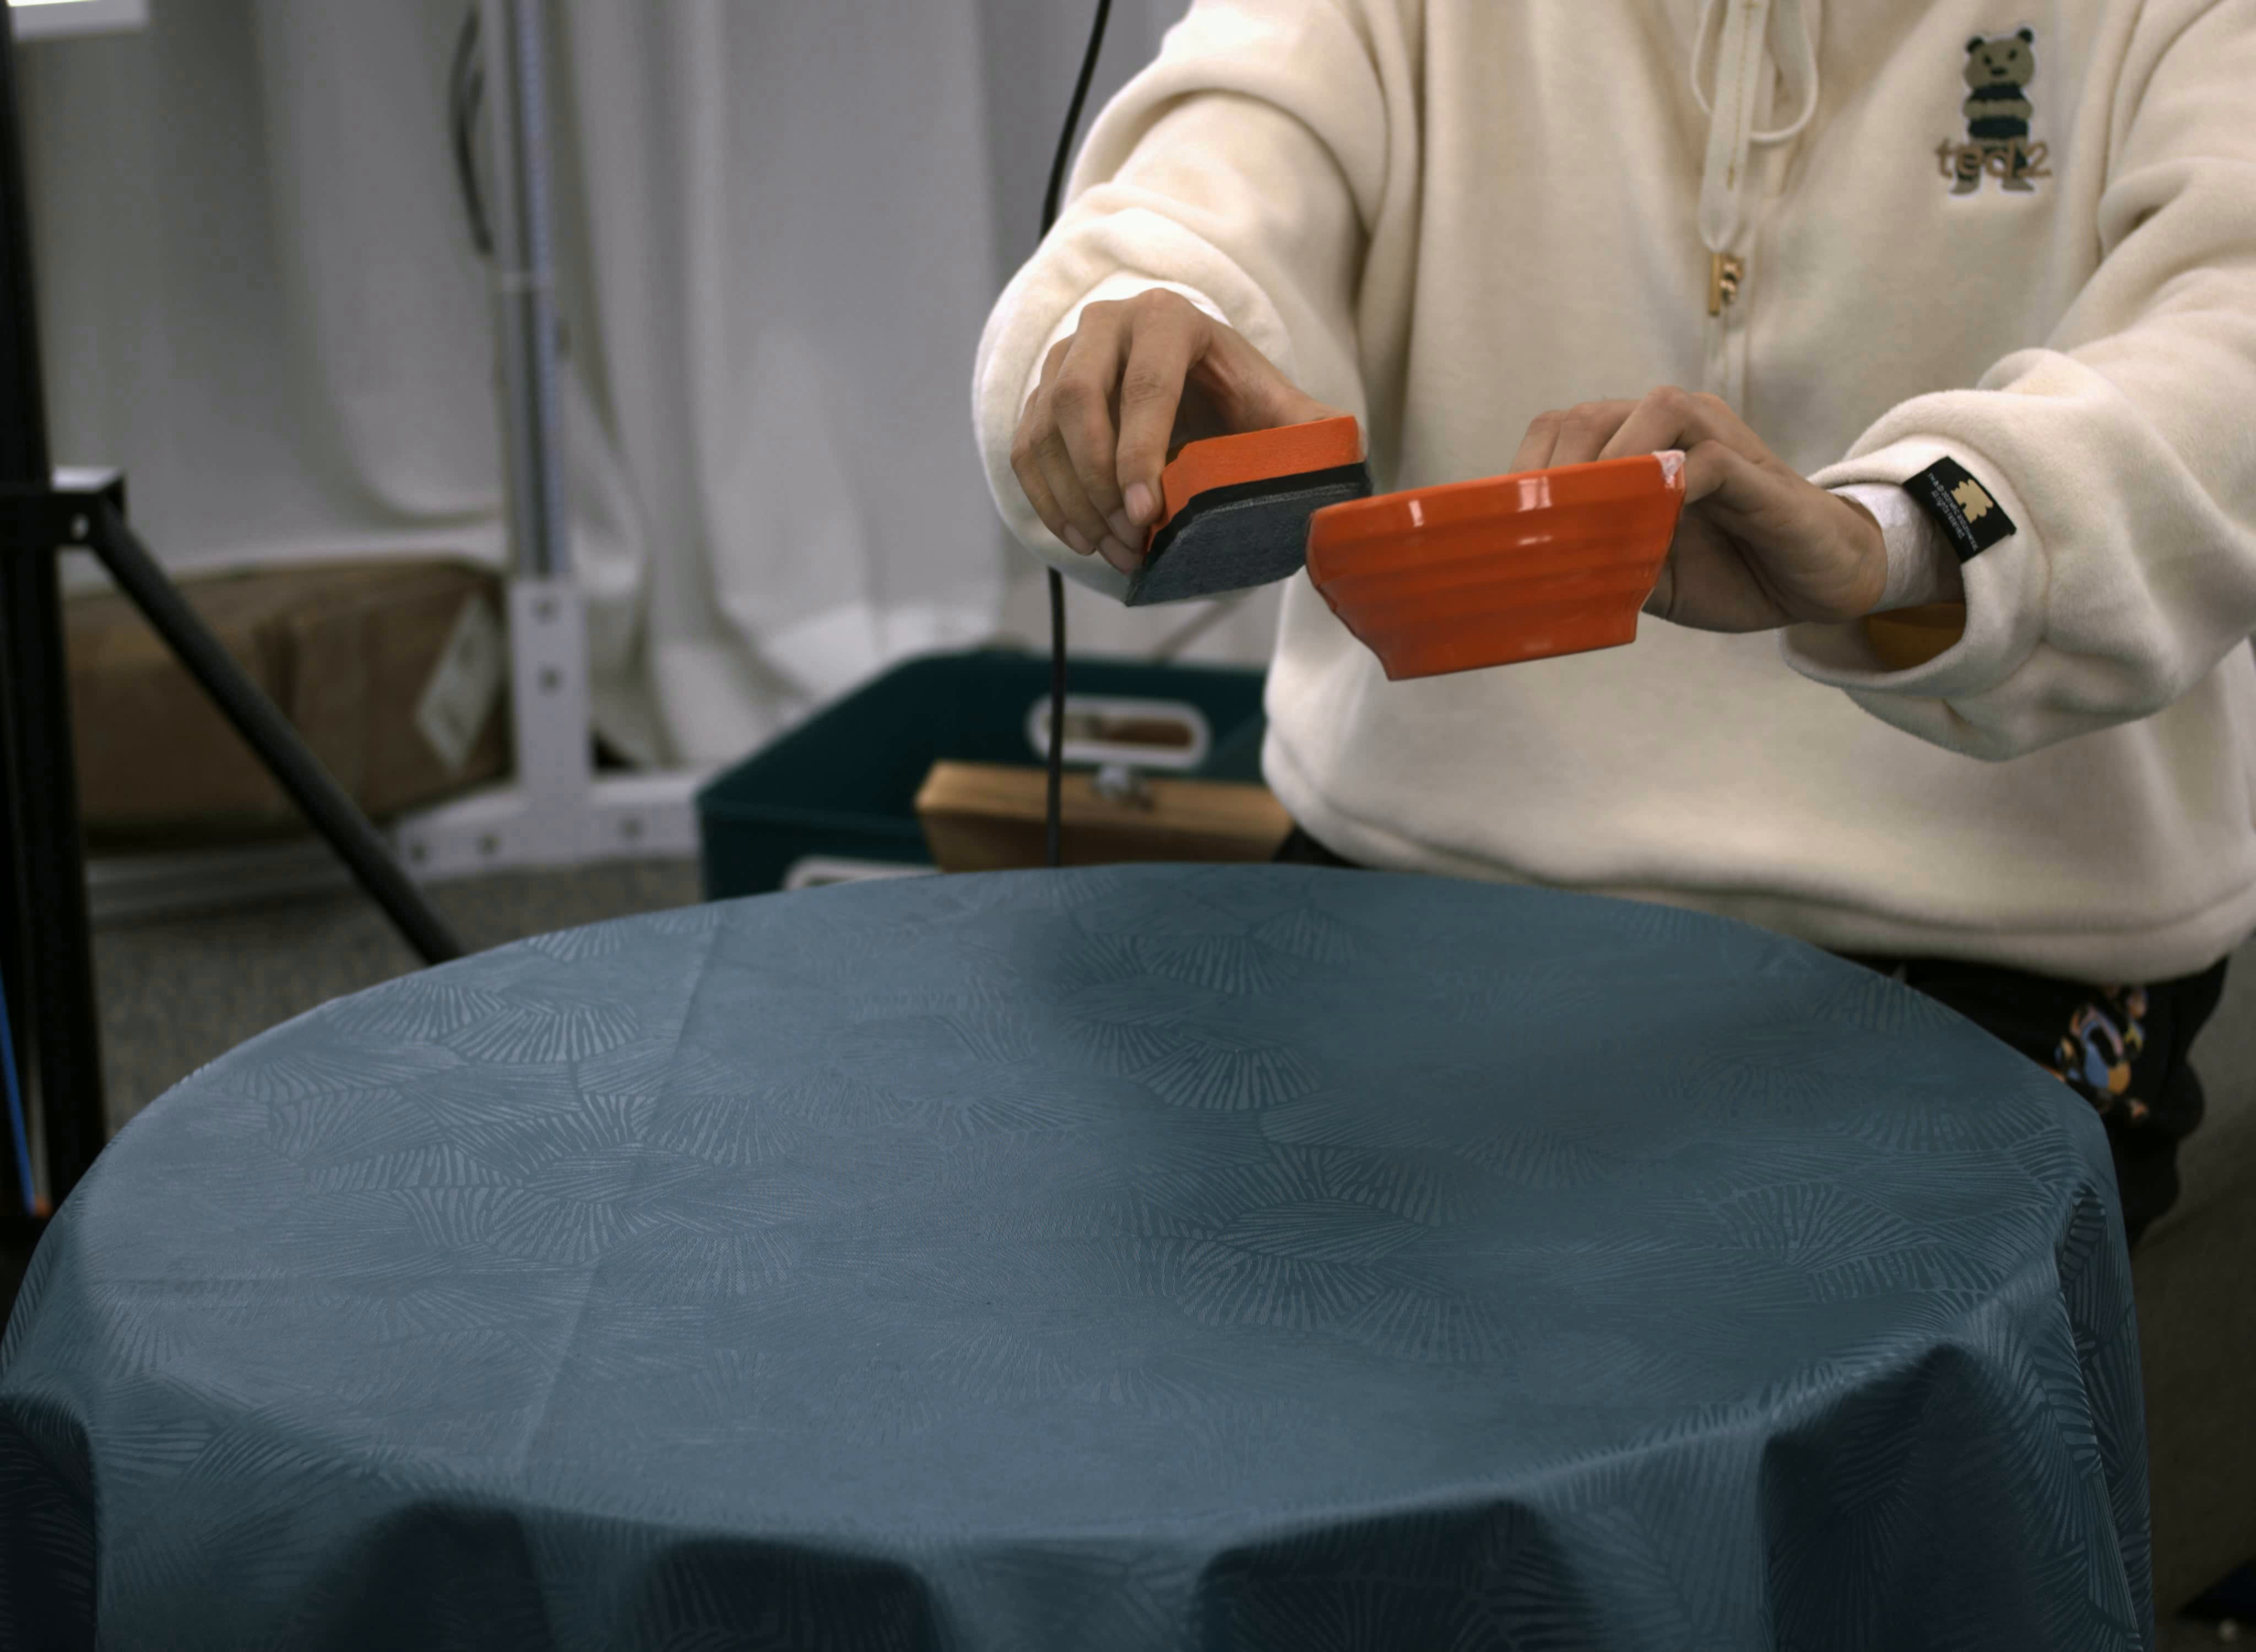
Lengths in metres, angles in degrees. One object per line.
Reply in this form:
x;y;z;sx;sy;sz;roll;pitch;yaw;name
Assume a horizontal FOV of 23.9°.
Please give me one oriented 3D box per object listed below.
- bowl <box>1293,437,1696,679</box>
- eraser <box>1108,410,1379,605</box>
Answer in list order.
0.105;-0.071;1.474;0.118;0.051;0.119;-10;-1;-2;bowl
0.033;-0.093;1.574;0.058;0.023;0.108;-13;-9;-16;eraser
